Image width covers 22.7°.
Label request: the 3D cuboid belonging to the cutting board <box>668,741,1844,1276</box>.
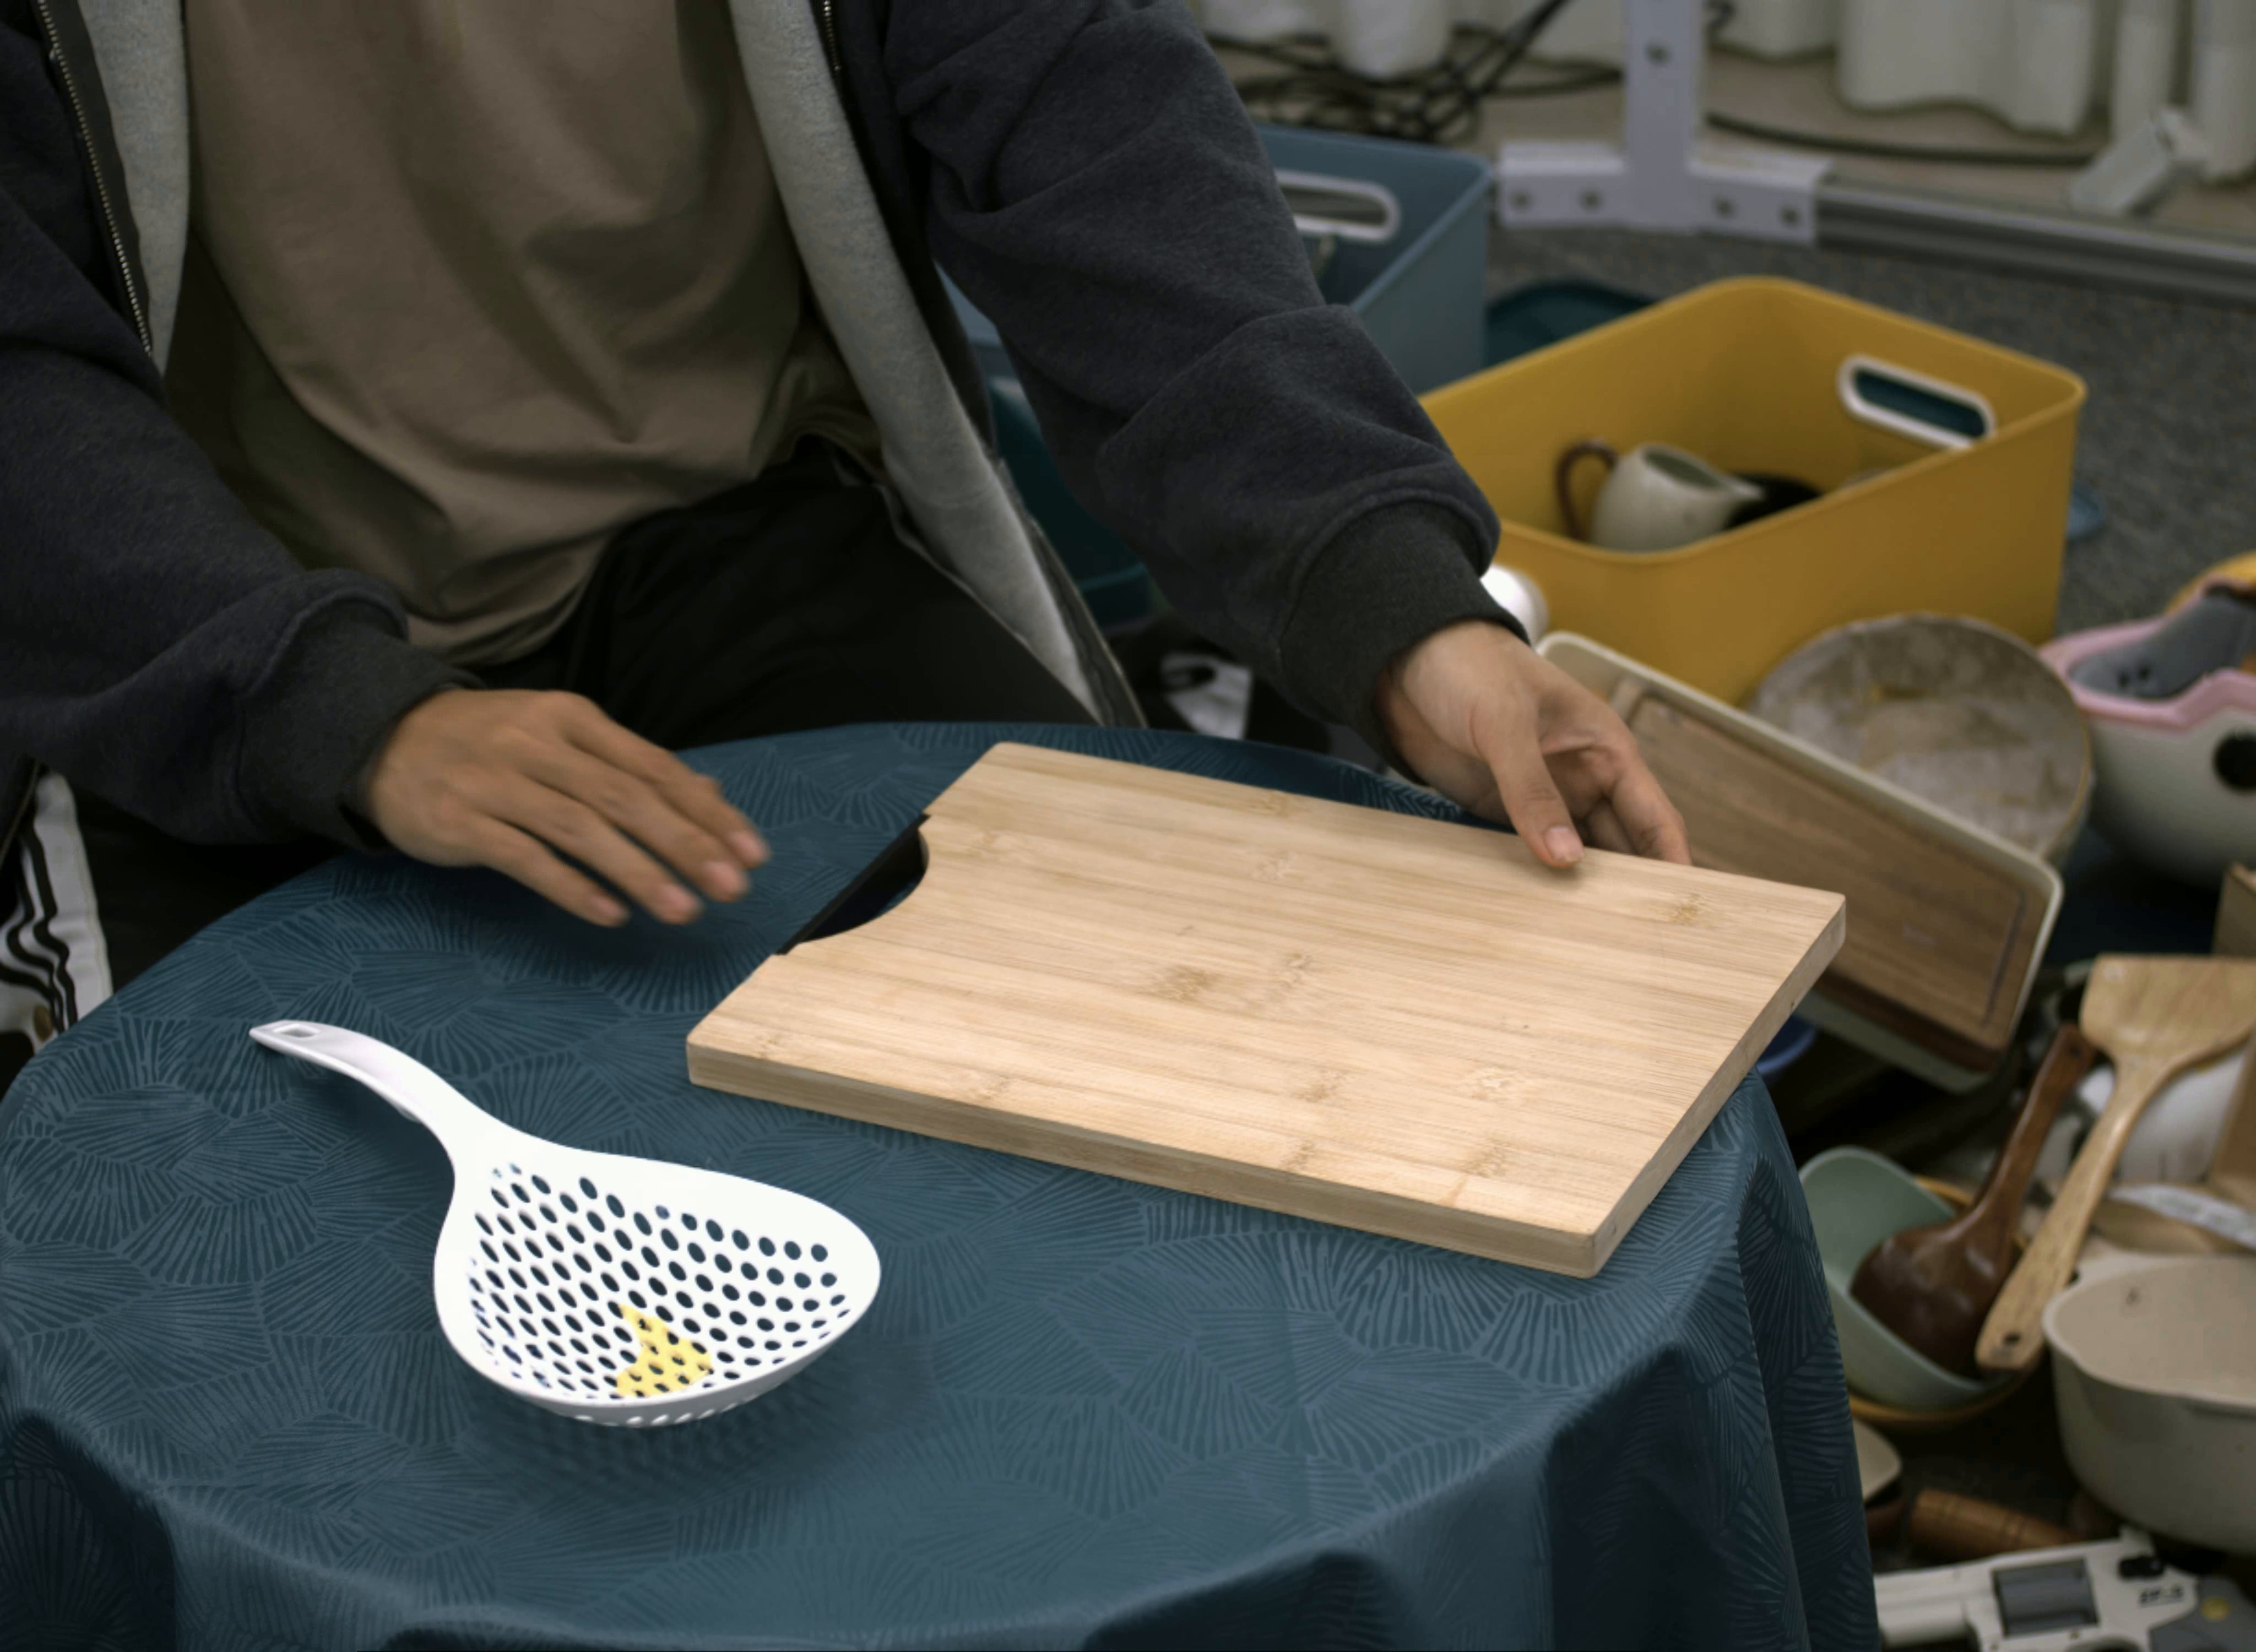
[{"bbox_3d":[0.046,0.057,1.963,0.346,0.023,0.255,10,30,23],"label":"cutting board"}]

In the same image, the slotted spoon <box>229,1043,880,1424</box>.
[{"bbox_3d":[-0.207,0.119,1.842,0.138,0.050,0.349,-22,33,-28],"label":"slotted spoon"}]
